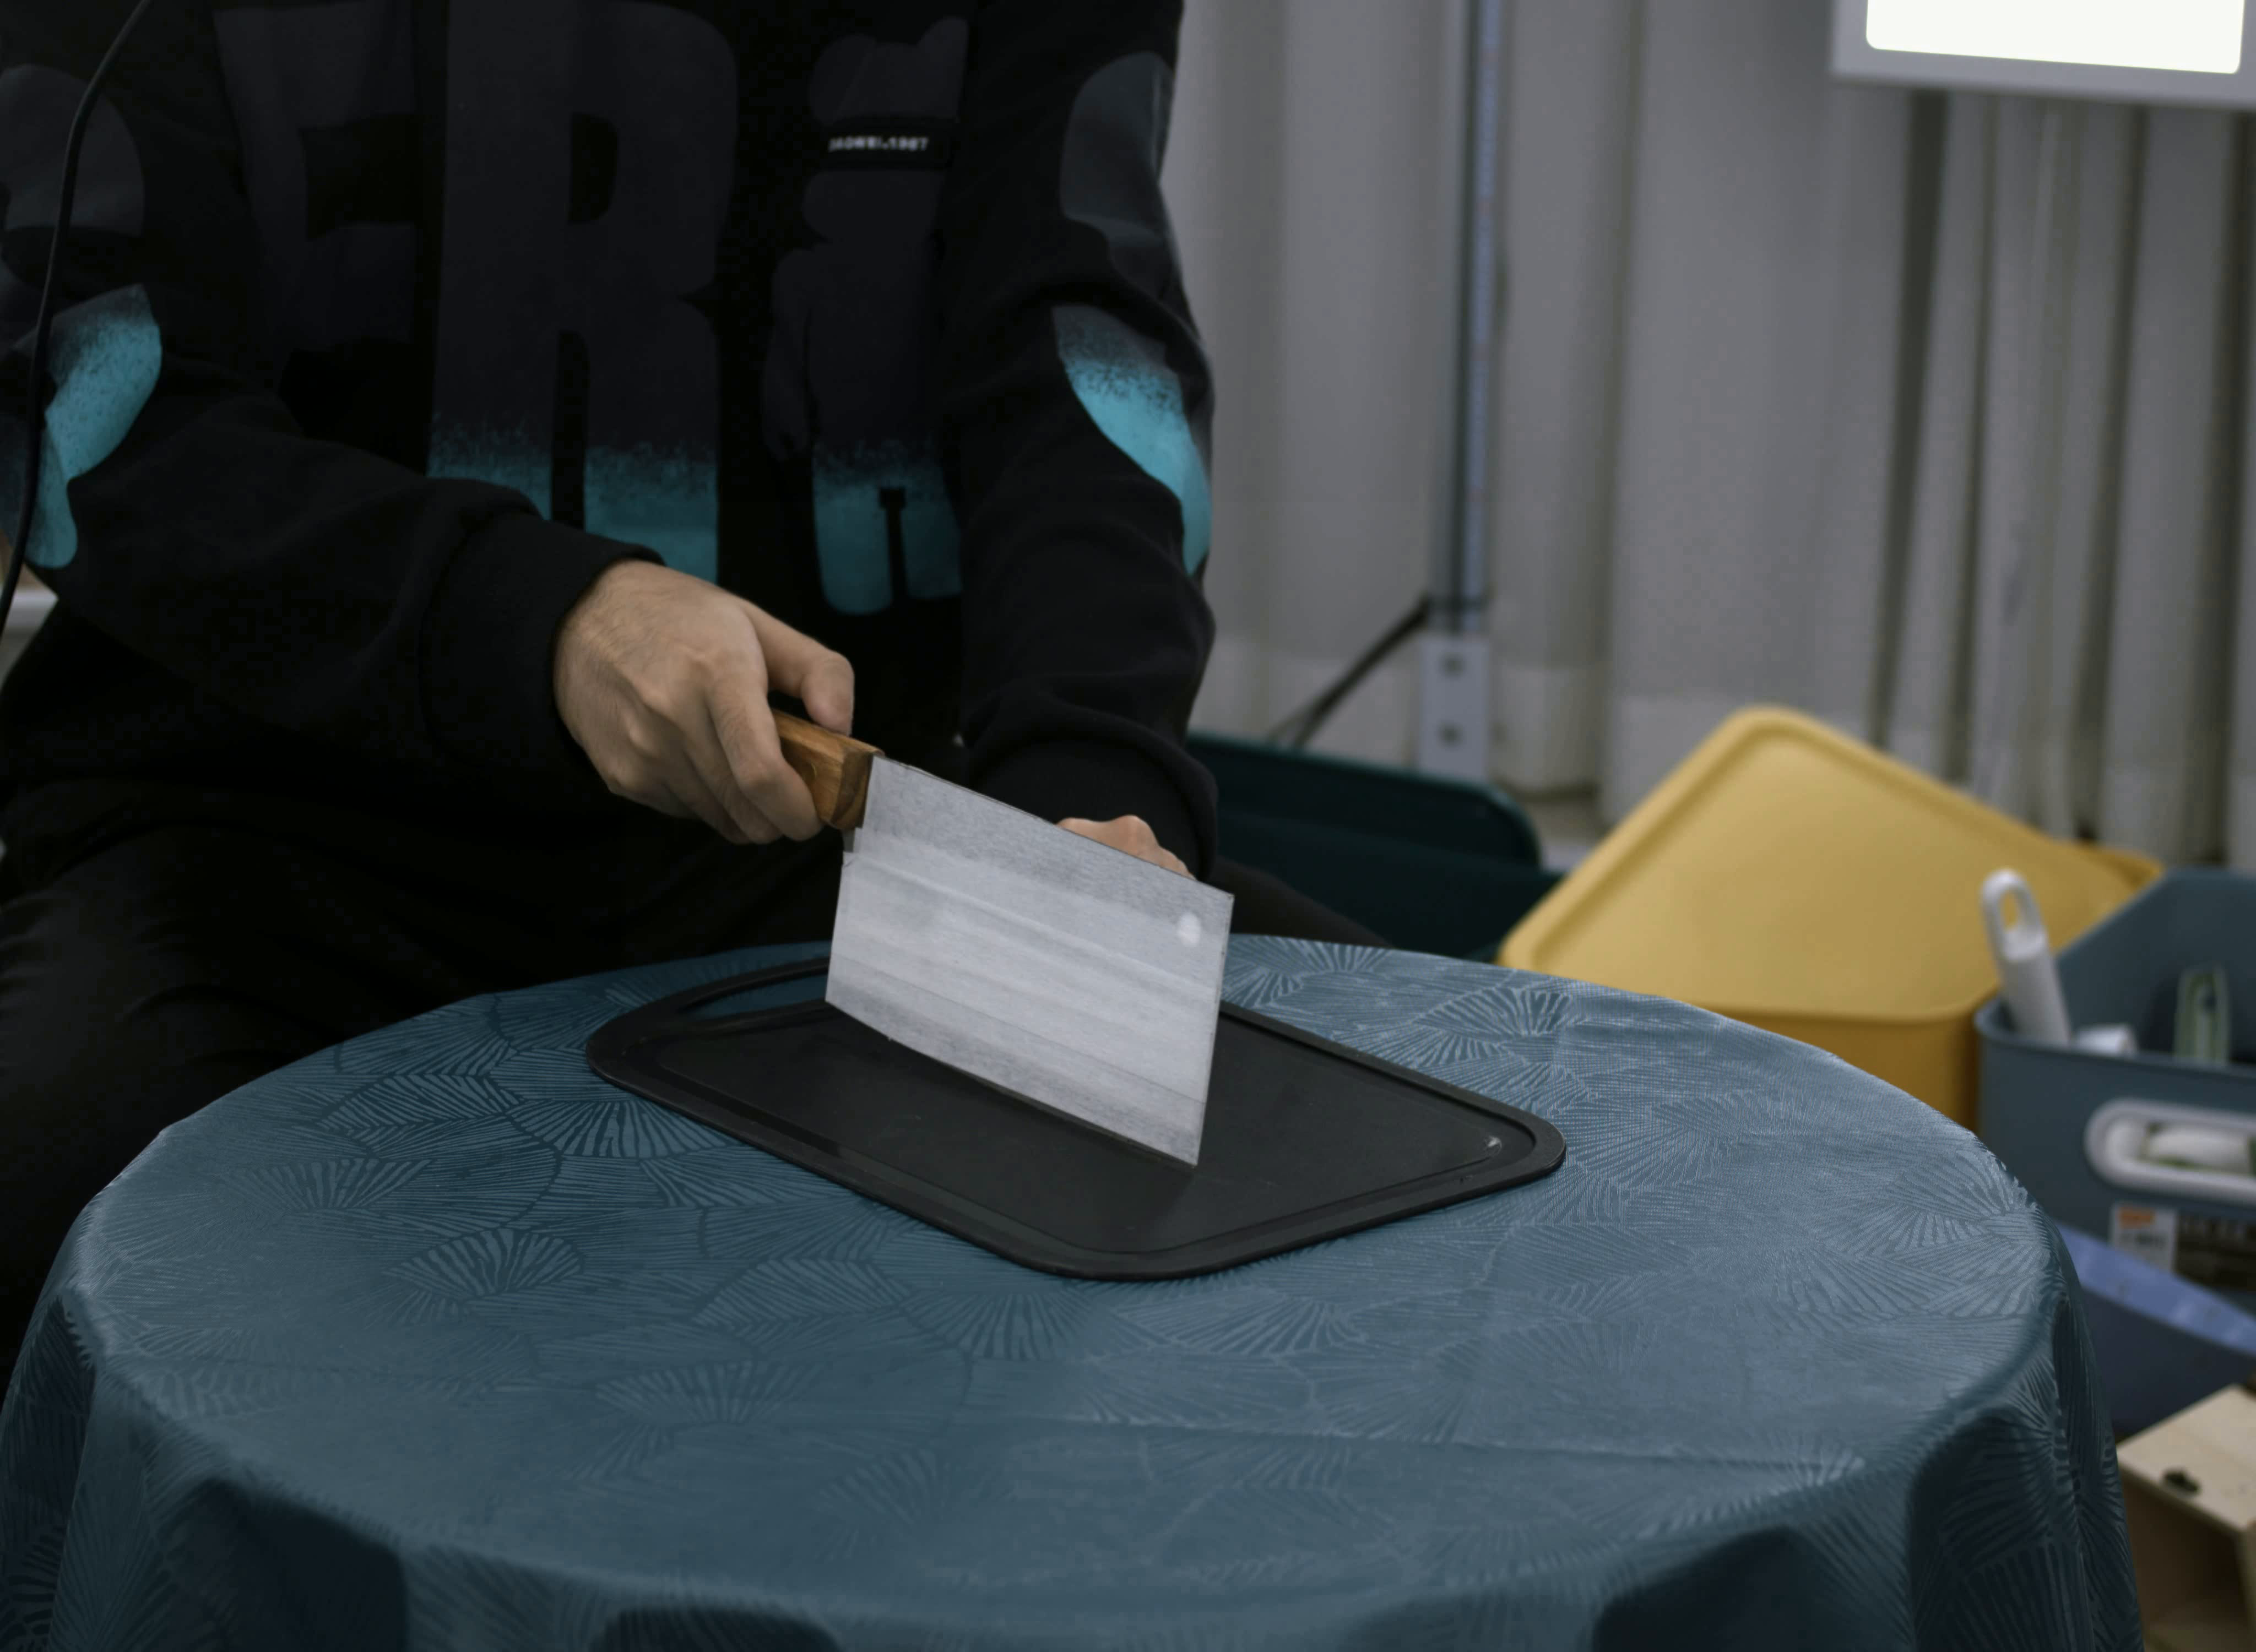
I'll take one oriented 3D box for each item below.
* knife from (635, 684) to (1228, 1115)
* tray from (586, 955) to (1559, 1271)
[{"bbox_3d":[-0.071,0.024,1.728,0.021,0.093,0.301,-5,18,-42],"label":"knife"},{"bbox_3d":[-0.028,0.084,1.710,0.212,0.010,0.321,-12,20,-37],"label":"tray"}]
